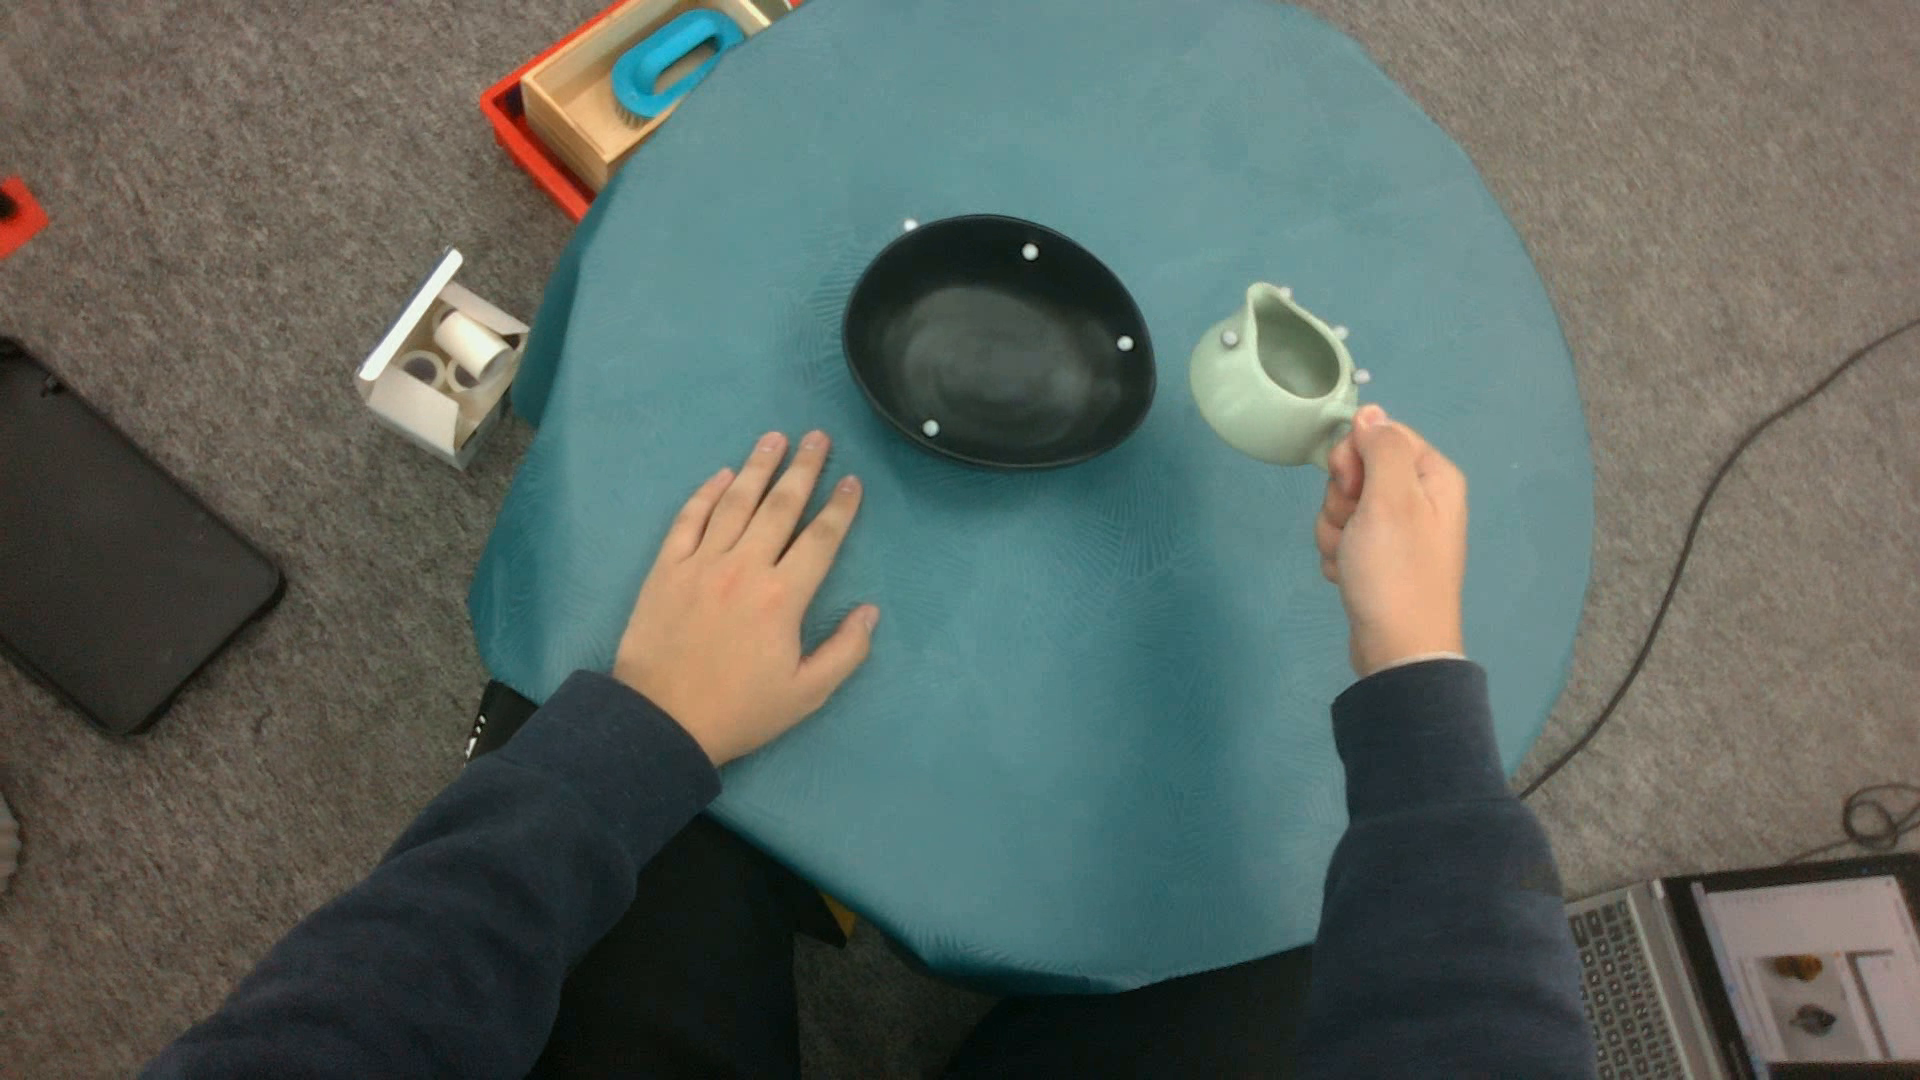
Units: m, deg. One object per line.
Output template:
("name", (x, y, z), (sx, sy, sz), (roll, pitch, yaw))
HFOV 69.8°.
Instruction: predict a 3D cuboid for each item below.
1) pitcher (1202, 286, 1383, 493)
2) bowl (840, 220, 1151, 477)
("pitcher", (0.171, -0.070, 0.690), (0.086, 0.060, 0.108), (-24, 77, -23))
("bowl", (0.017, -0.095, 0.740), (0.170, 0.066, 0.137), (9, 76, -10))
